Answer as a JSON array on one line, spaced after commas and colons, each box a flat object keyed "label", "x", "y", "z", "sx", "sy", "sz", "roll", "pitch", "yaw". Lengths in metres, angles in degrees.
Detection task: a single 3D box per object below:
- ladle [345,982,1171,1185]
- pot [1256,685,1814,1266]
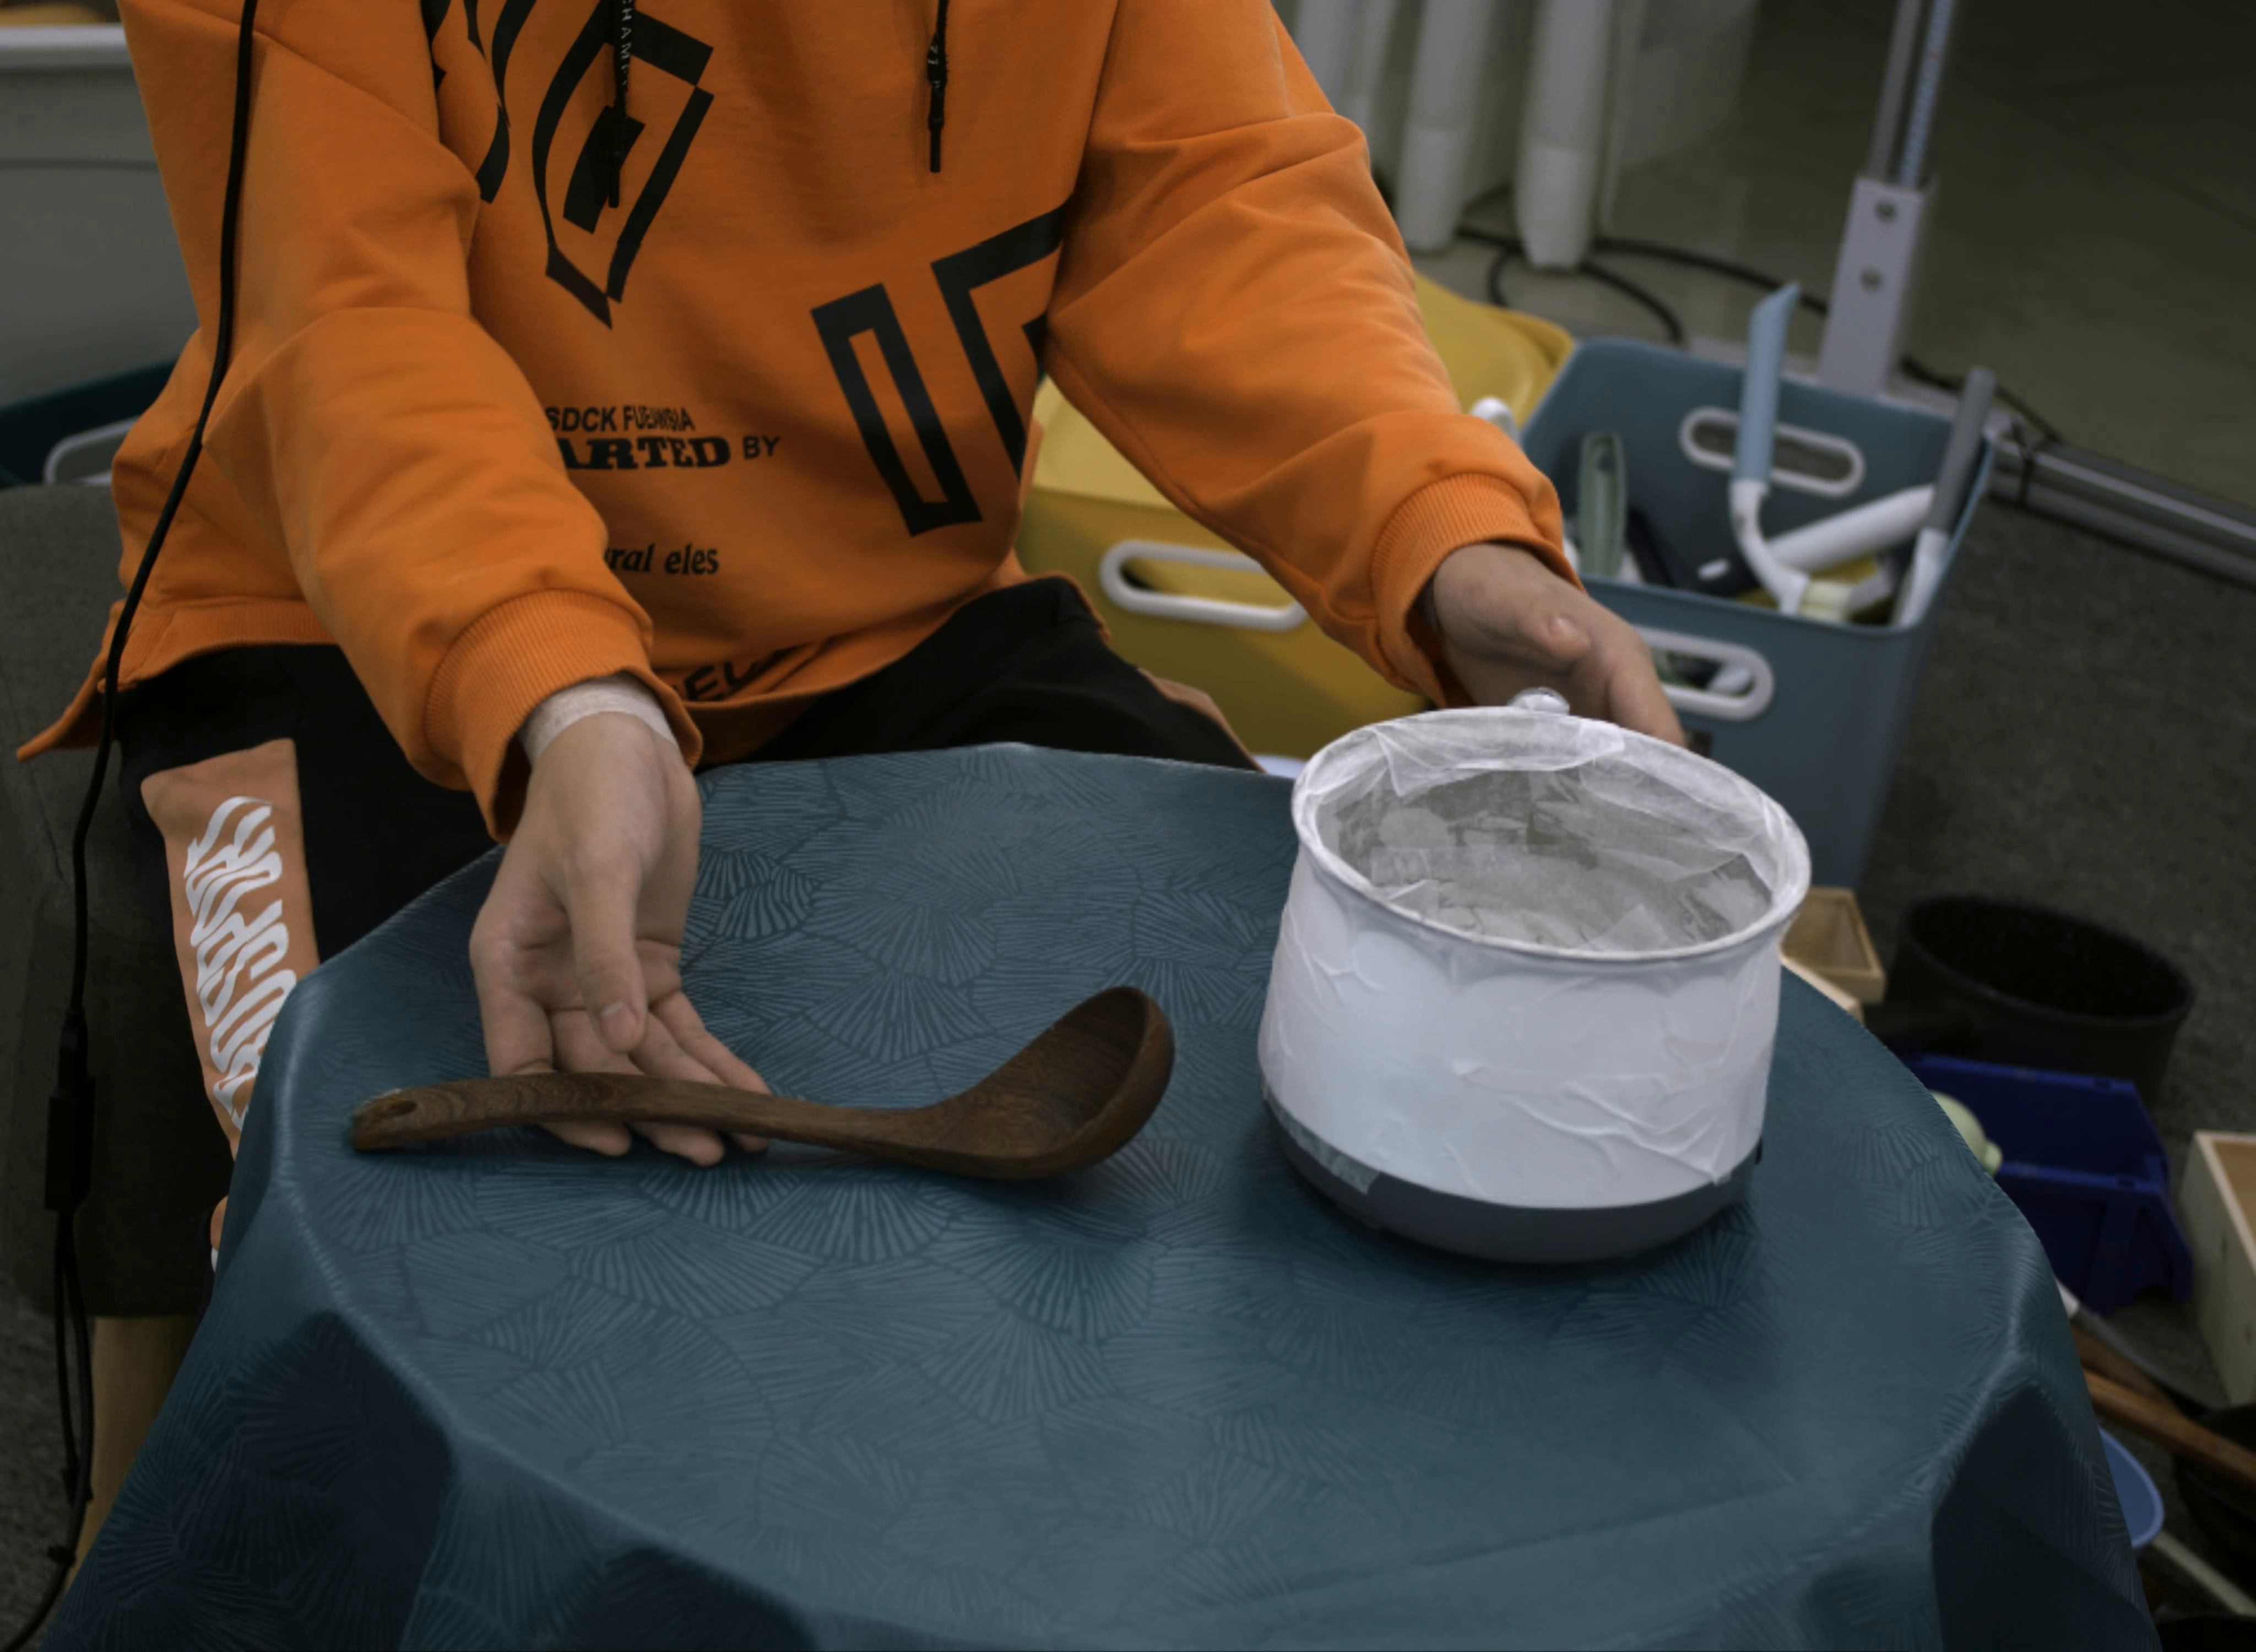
[{"label": "ladle", "x": -0.123, "y": 0.081, "z": 1.782, "sx": 0.273, "sy": 0.071, "sz": 0.076, "roll": 4, "pitch": 24, "yaw": -7}, {"label": "pot", "x": 0.135, "y": 0.044, "z": 1.839, "sx": 0.178, "sy": 0.136, "sz": 0.235, "roll": 6, "pitch": 27, "yaw": -2}]
